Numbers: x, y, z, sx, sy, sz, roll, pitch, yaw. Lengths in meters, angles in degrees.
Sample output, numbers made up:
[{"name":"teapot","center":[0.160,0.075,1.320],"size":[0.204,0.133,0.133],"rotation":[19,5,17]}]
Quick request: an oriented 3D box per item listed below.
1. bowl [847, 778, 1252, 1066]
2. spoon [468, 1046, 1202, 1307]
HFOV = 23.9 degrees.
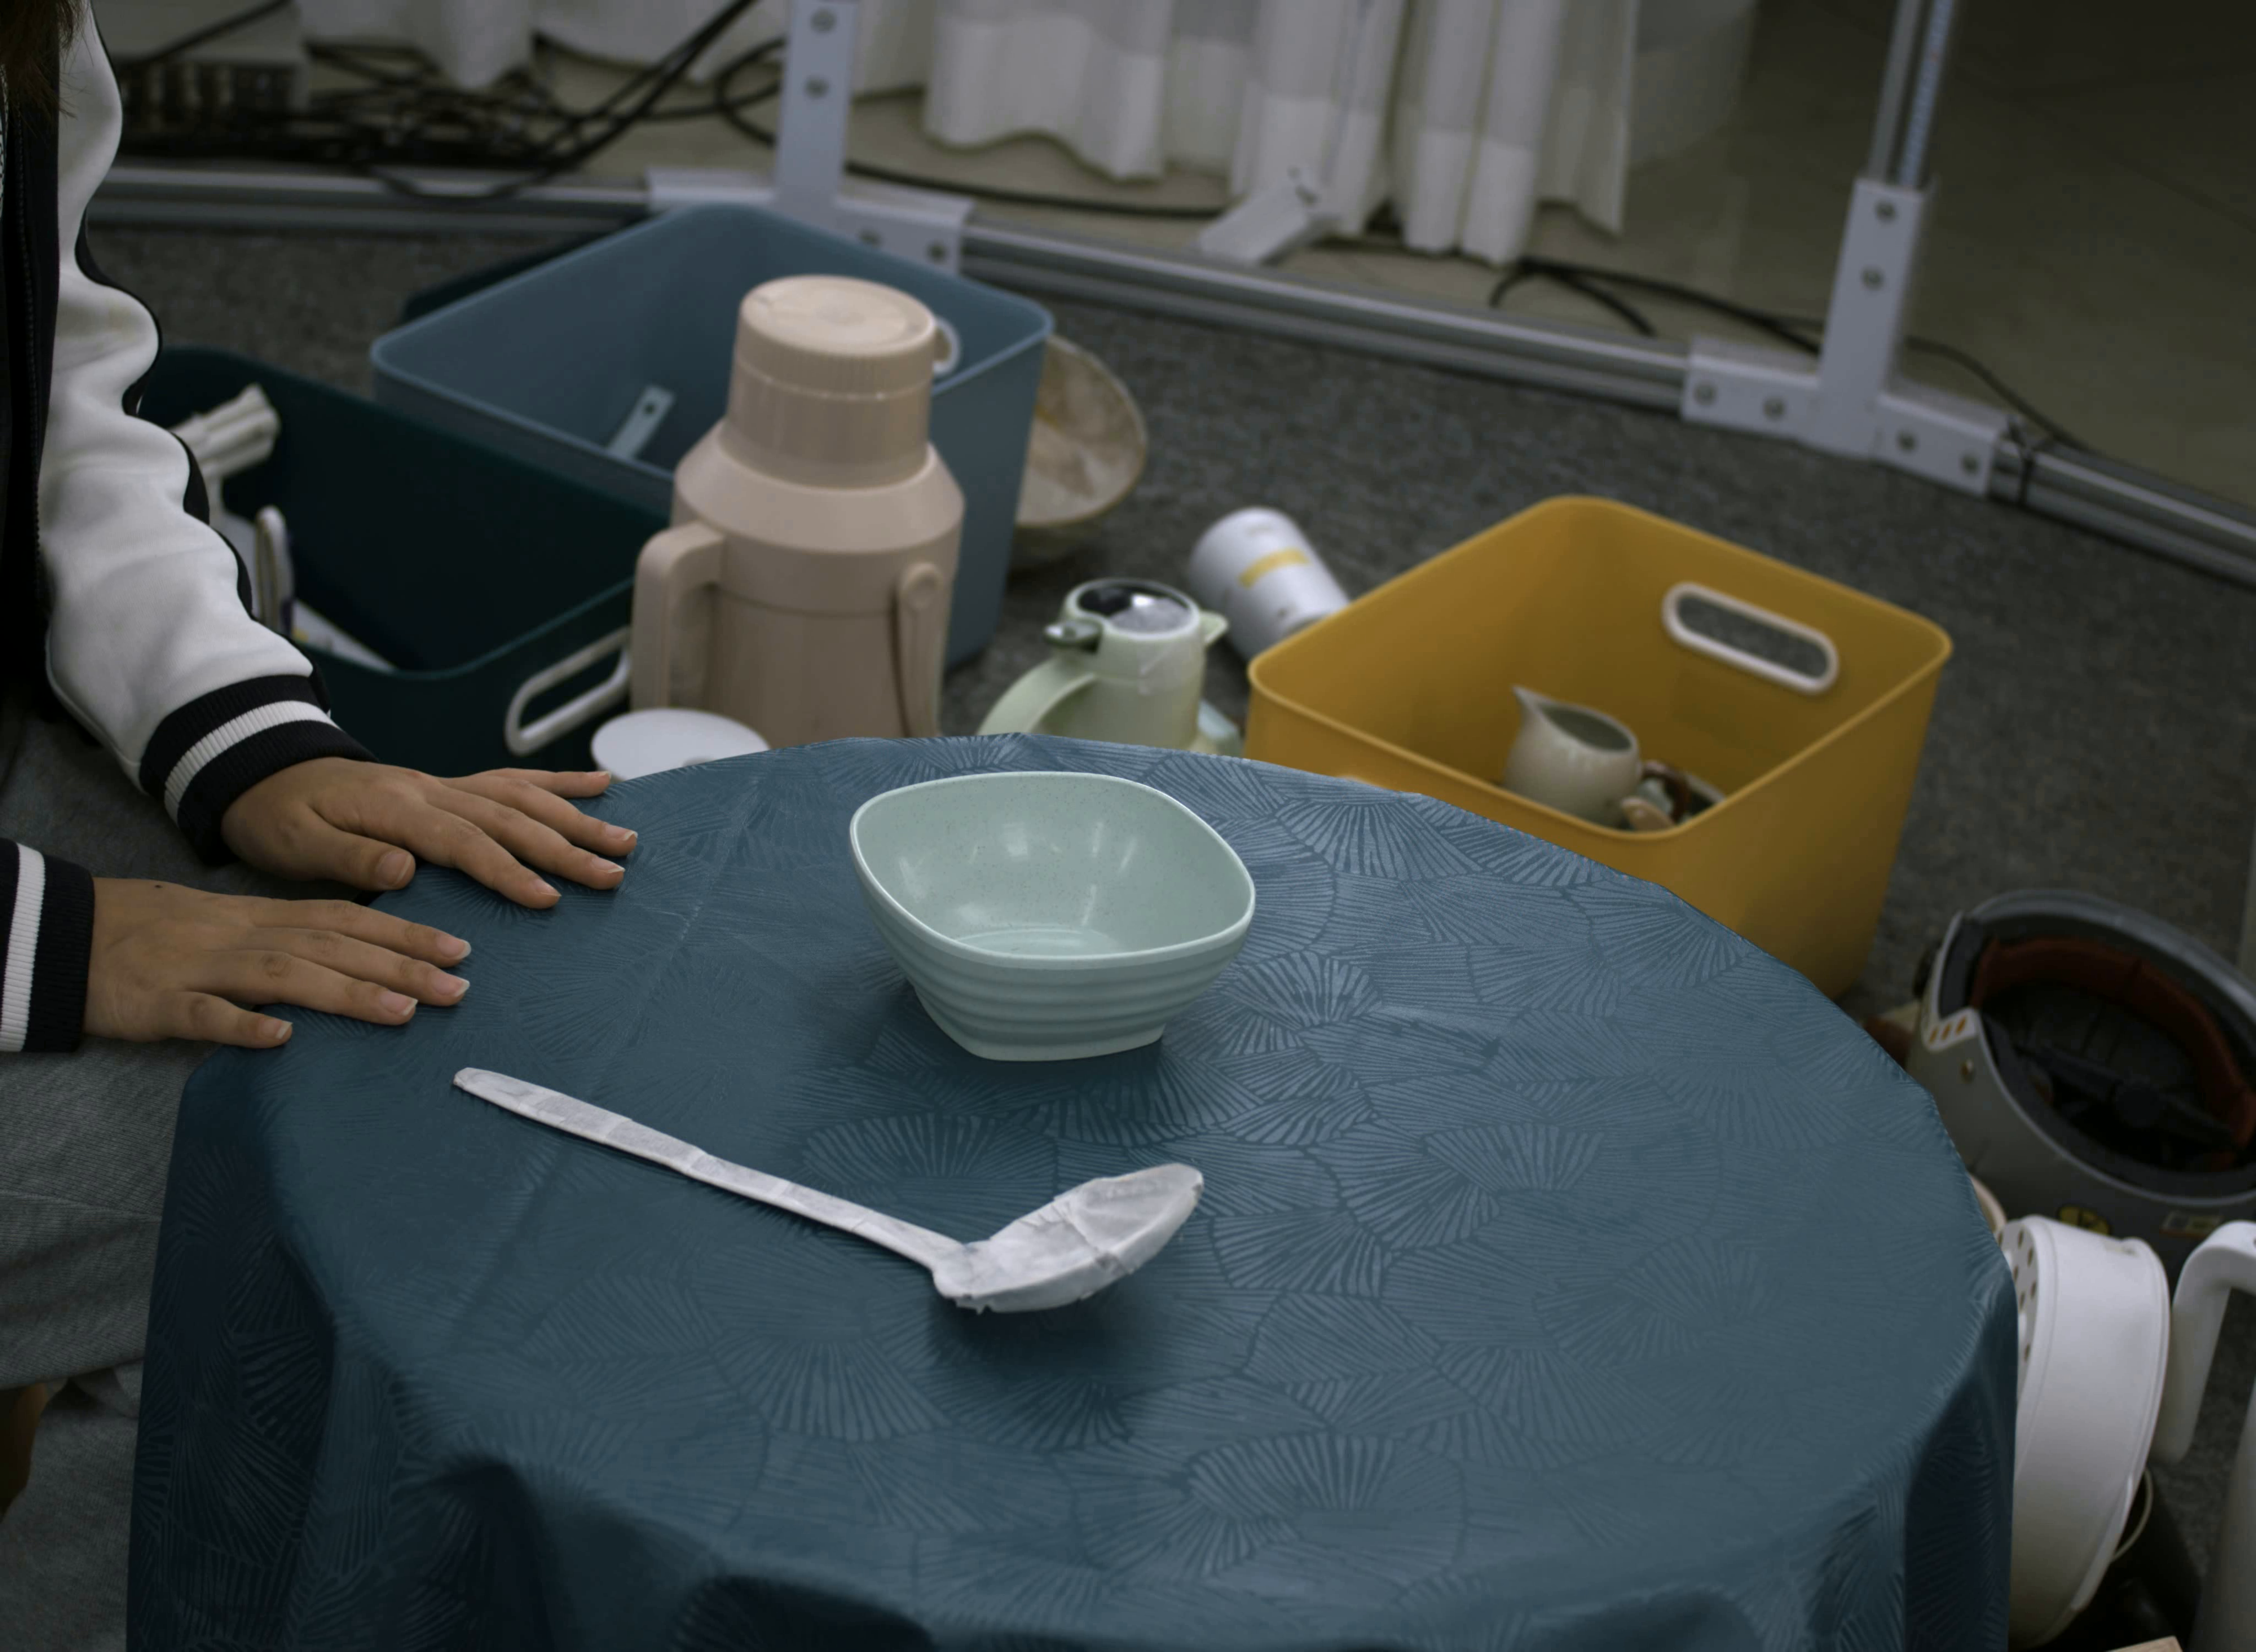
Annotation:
[{"name":"bowl","center":[-0.031,0.040,1.901],"size":[0.151,0.058,0.152],"rotation":[5,27,-3]},{"name":"spoon","center":[-0.102,0.099,1.765],"size":[0.279,0.059,0.100],"rotation":[21,25,26]}]
